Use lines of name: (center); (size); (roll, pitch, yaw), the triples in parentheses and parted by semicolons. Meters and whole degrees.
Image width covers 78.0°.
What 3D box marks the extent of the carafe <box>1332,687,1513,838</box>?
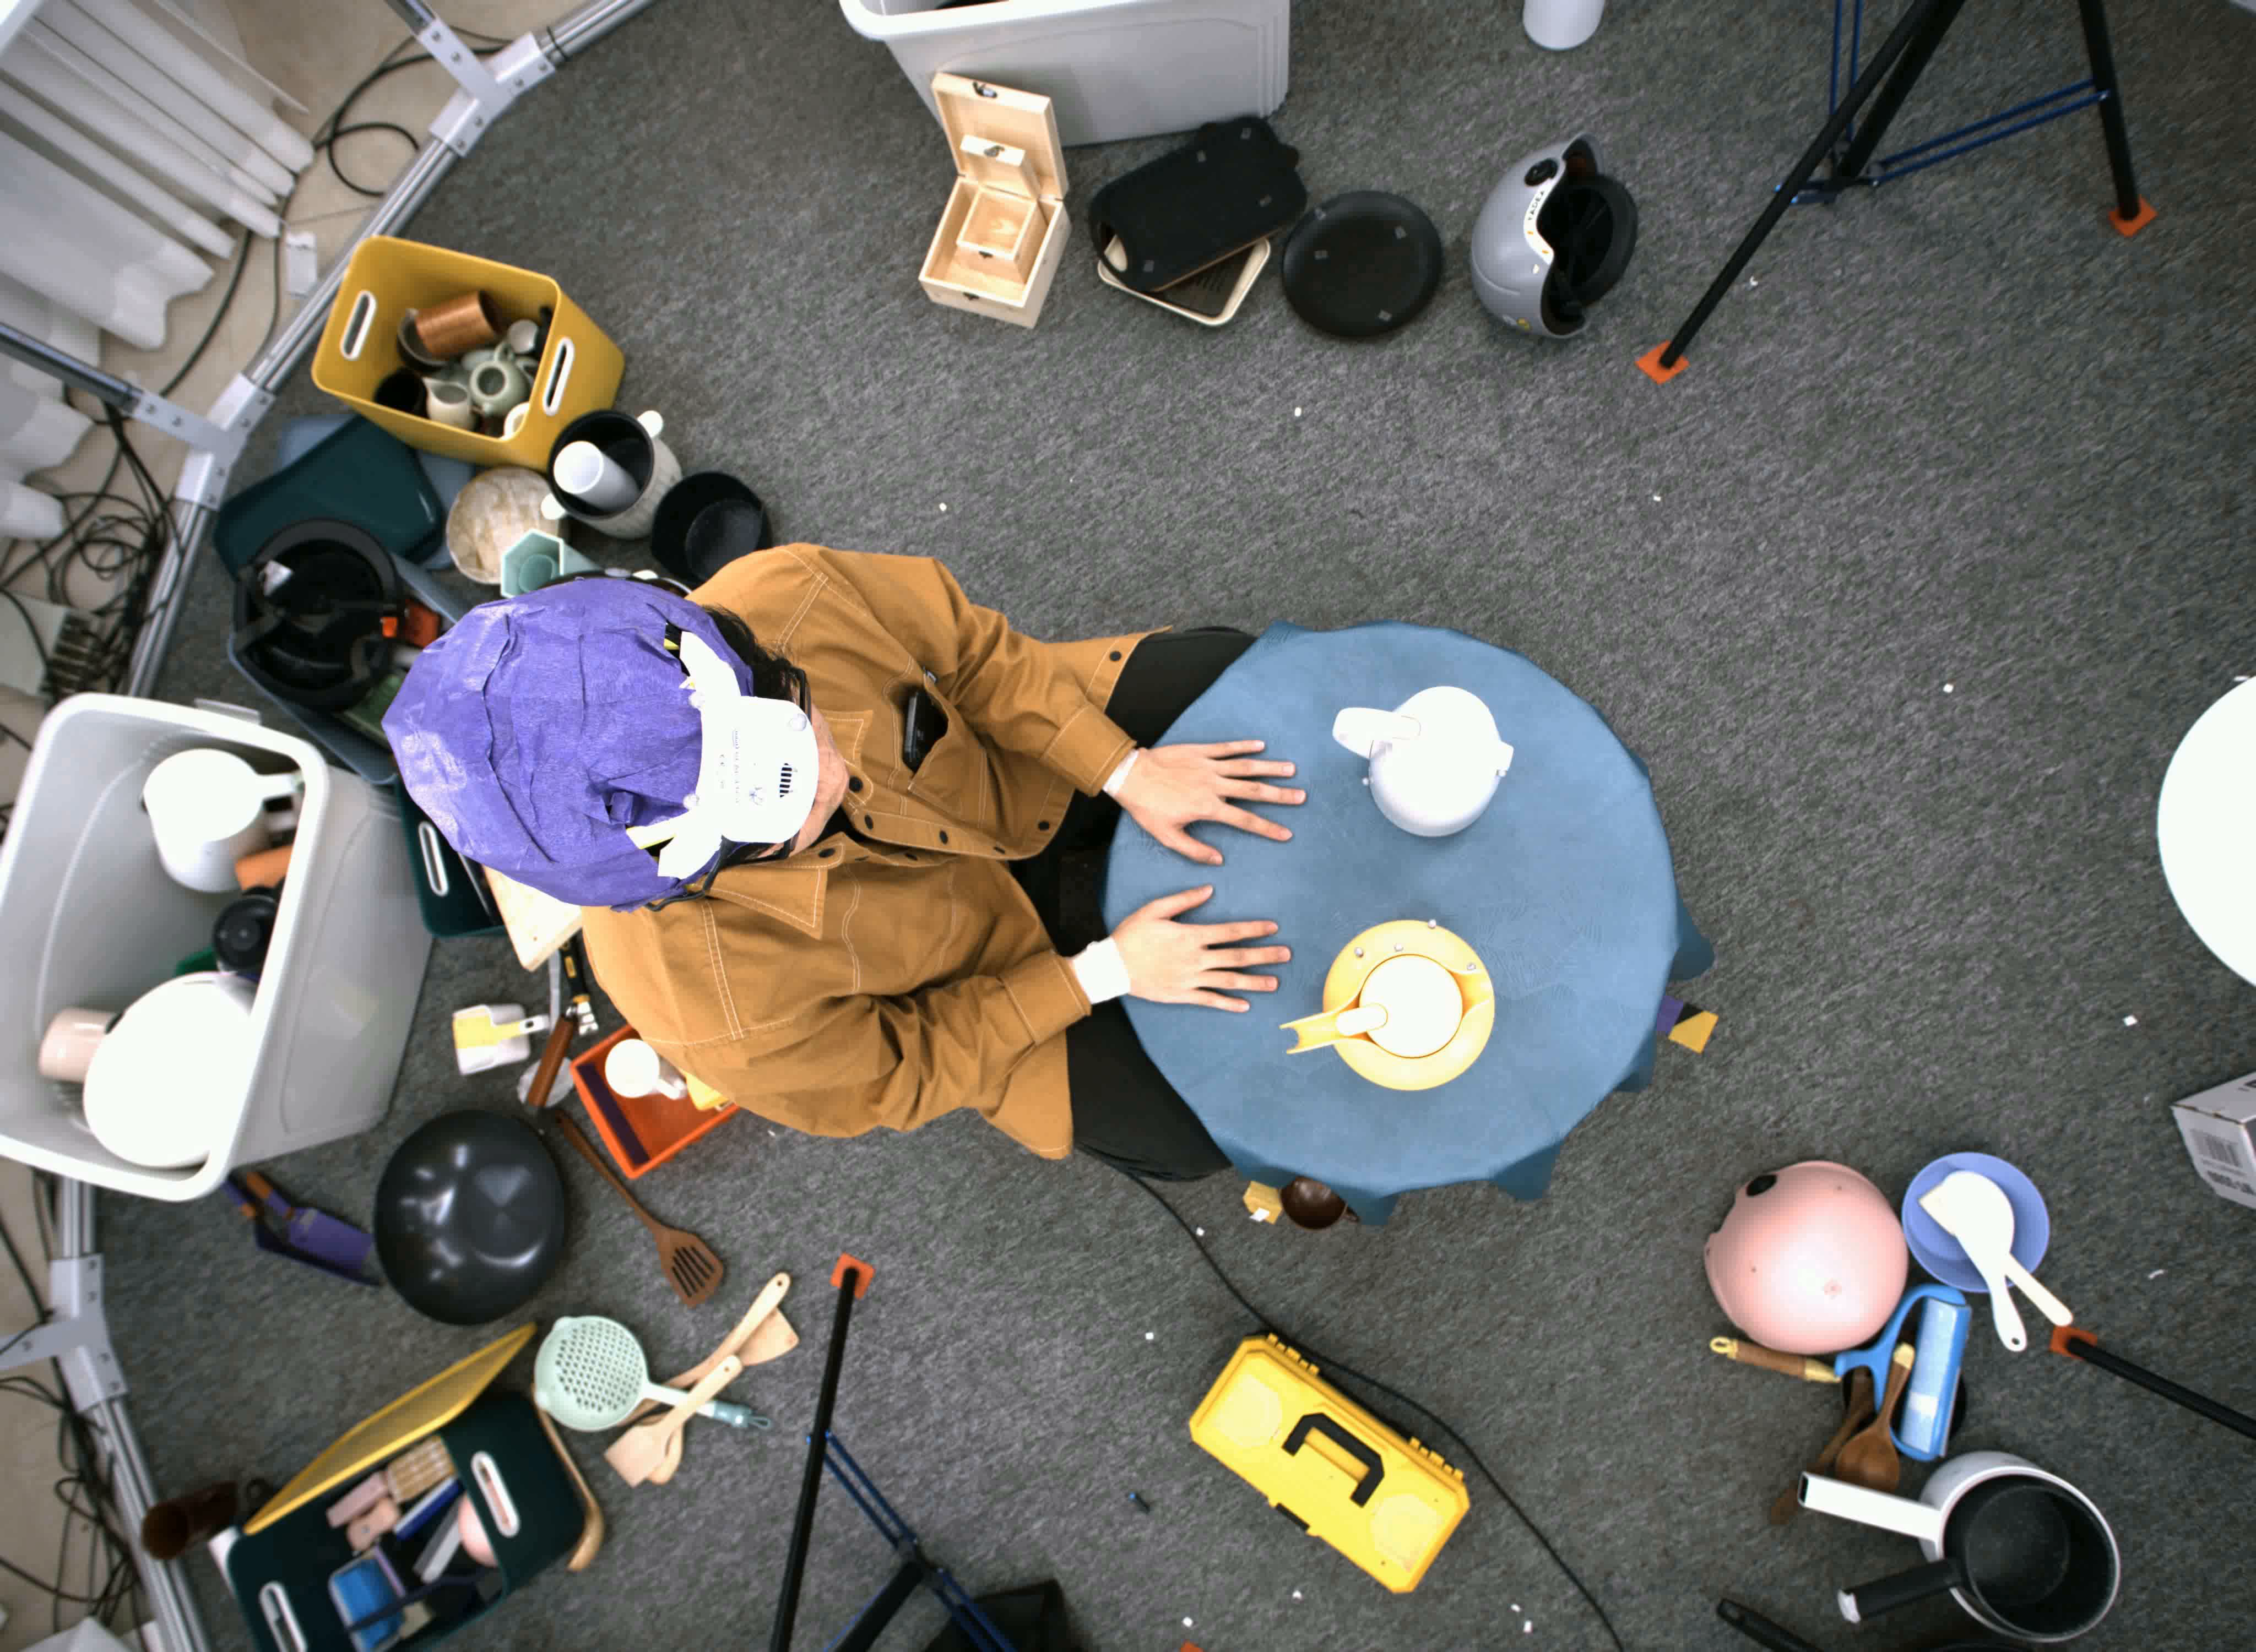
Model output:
carafe: (0.282, -0.072, 1.339); (0.168, 0.249, 0.132); (16, 88, 12)

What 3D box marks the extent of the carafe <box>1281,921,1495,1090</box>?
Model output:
carafe: (0.249, 0.174, 1.329); (0.203, 0.261, 0.162); (-14, 81, 8)
